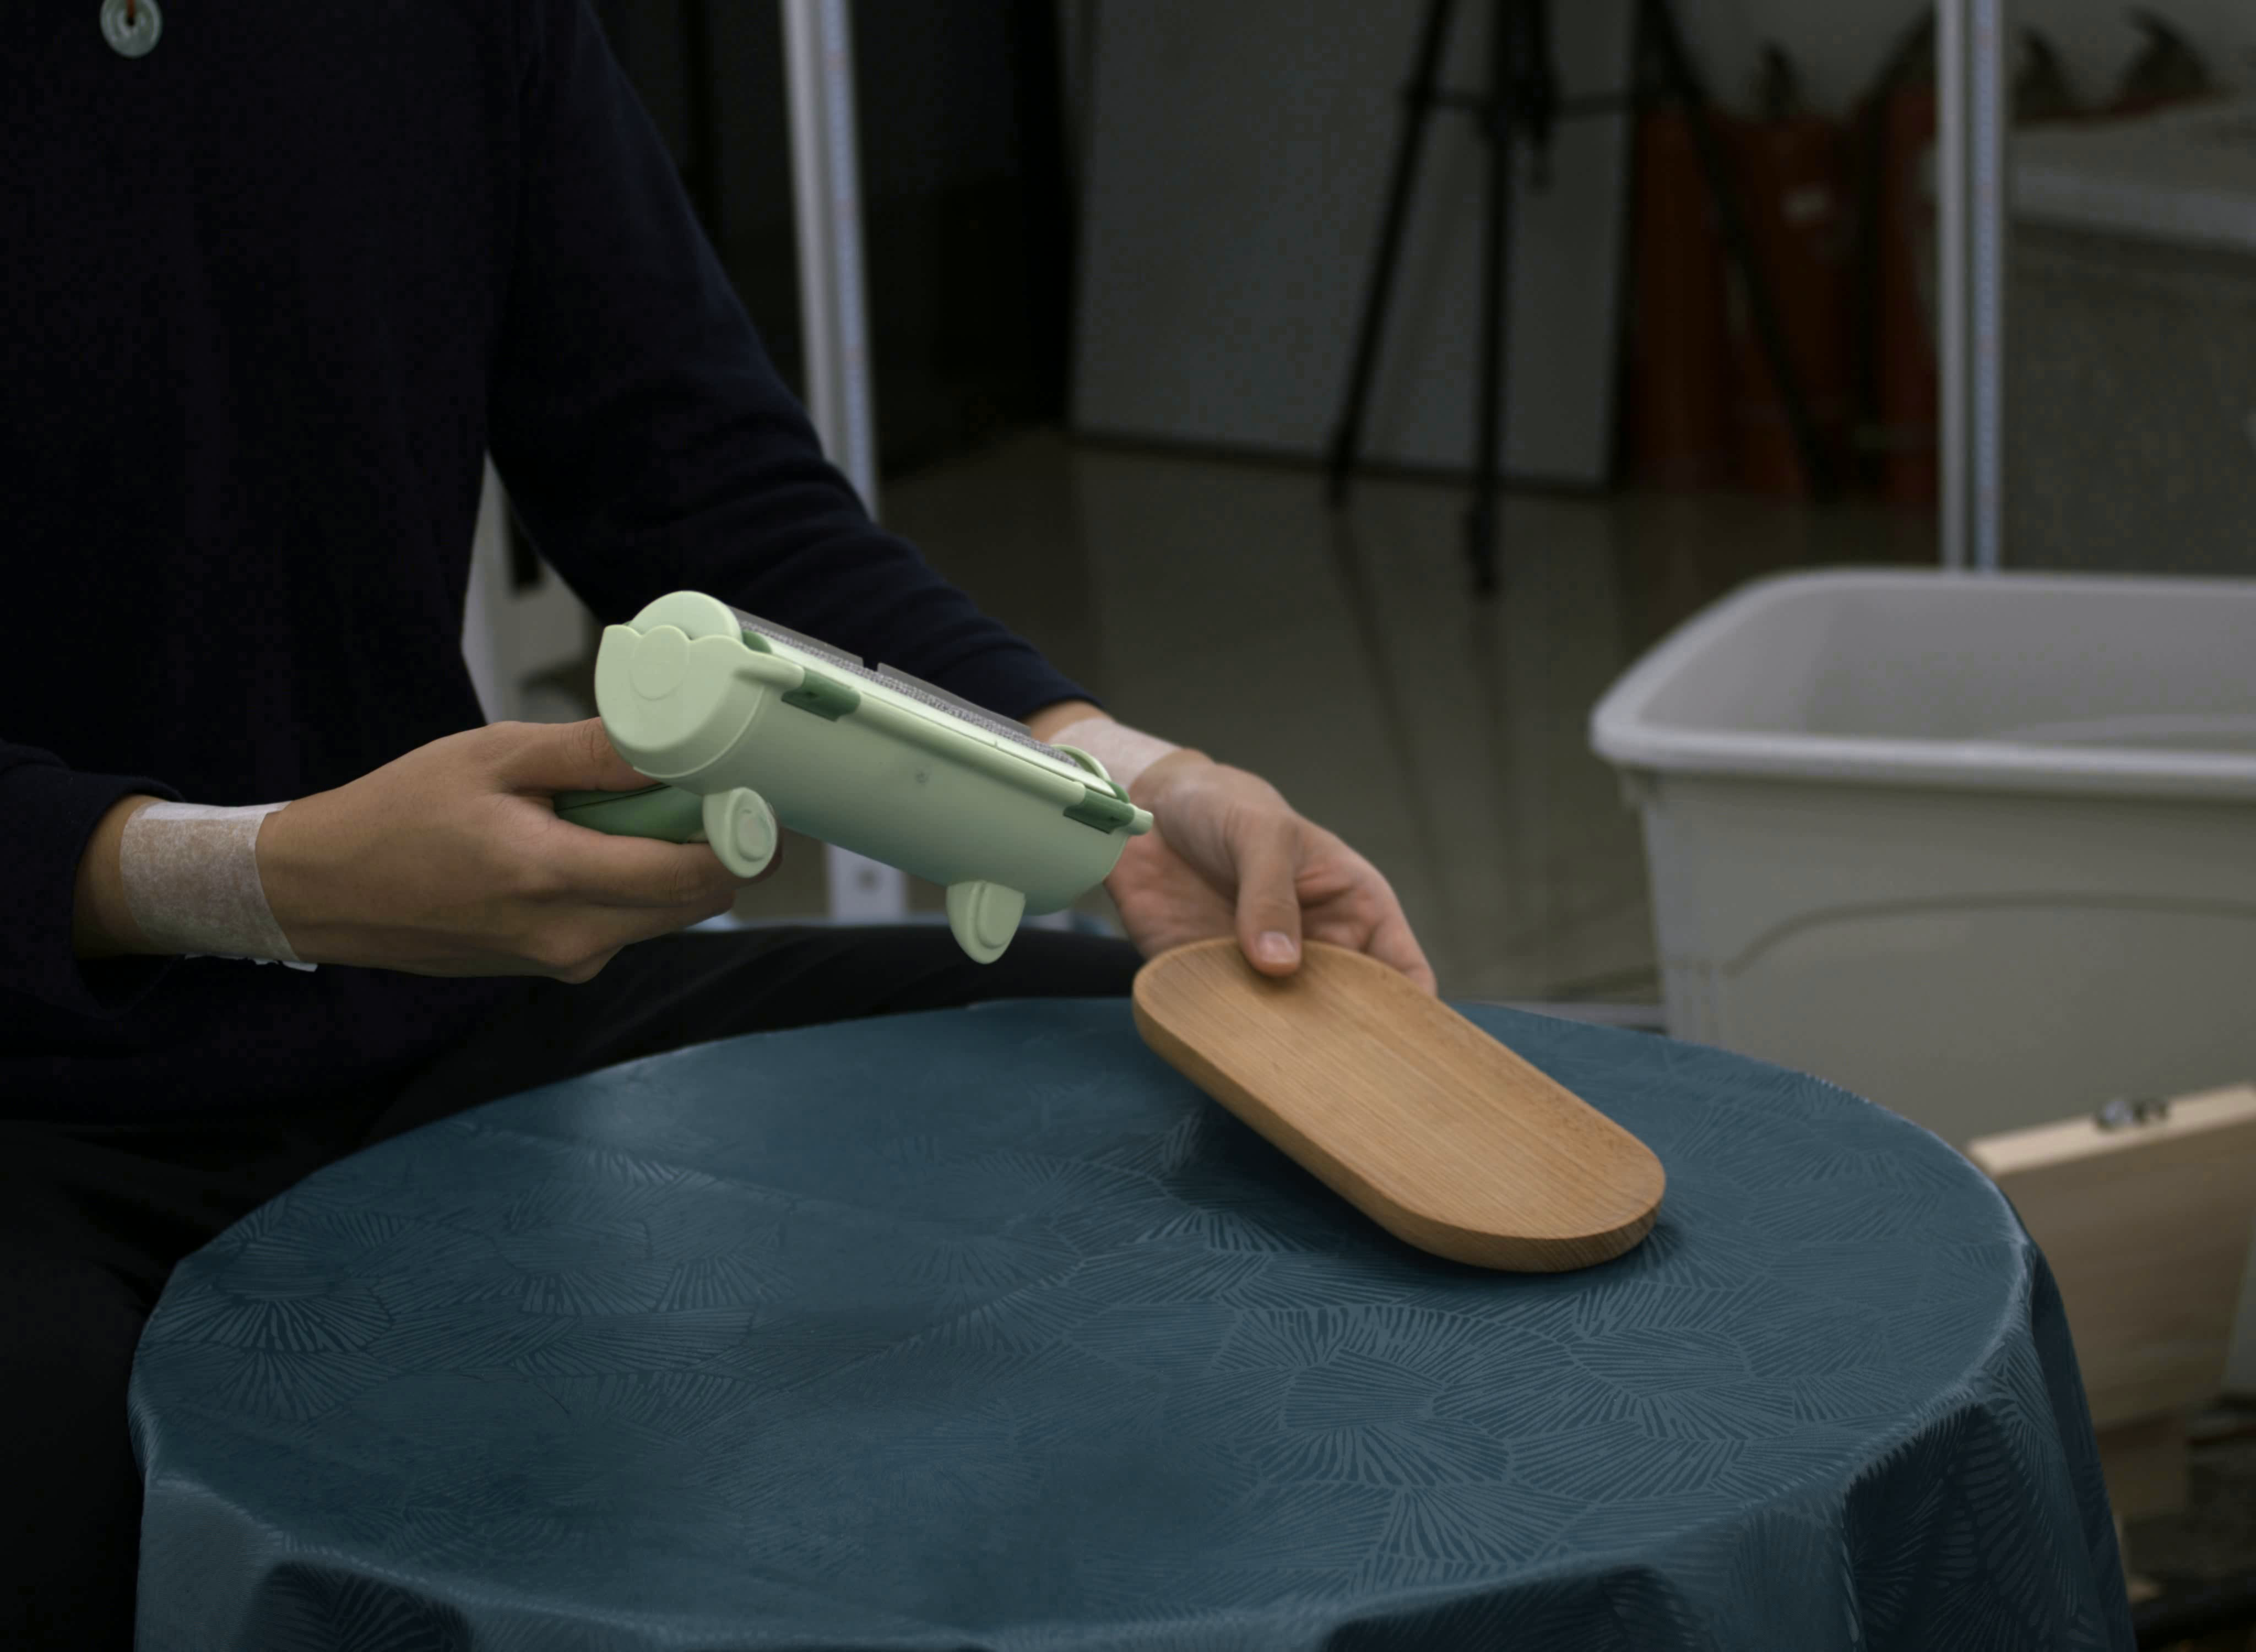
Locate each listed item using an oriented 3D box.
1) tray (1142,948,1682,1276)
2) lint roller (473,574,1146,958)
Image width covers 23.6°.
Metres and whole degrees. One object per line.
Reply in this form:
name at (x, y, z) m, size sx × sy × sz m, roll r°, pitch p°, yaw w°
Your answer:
tray at (0.089, 0.091, 1.747) m, size 0.099 × 0.020 × 0.234 m, roll -12°, pitch 28°, yaw -30°
lint roller at (-0.118, 0.006, 1.580) m, size 0.184 × 0.083 × 0.195 m, roll -27°, pitch -29°, yaw 28°
